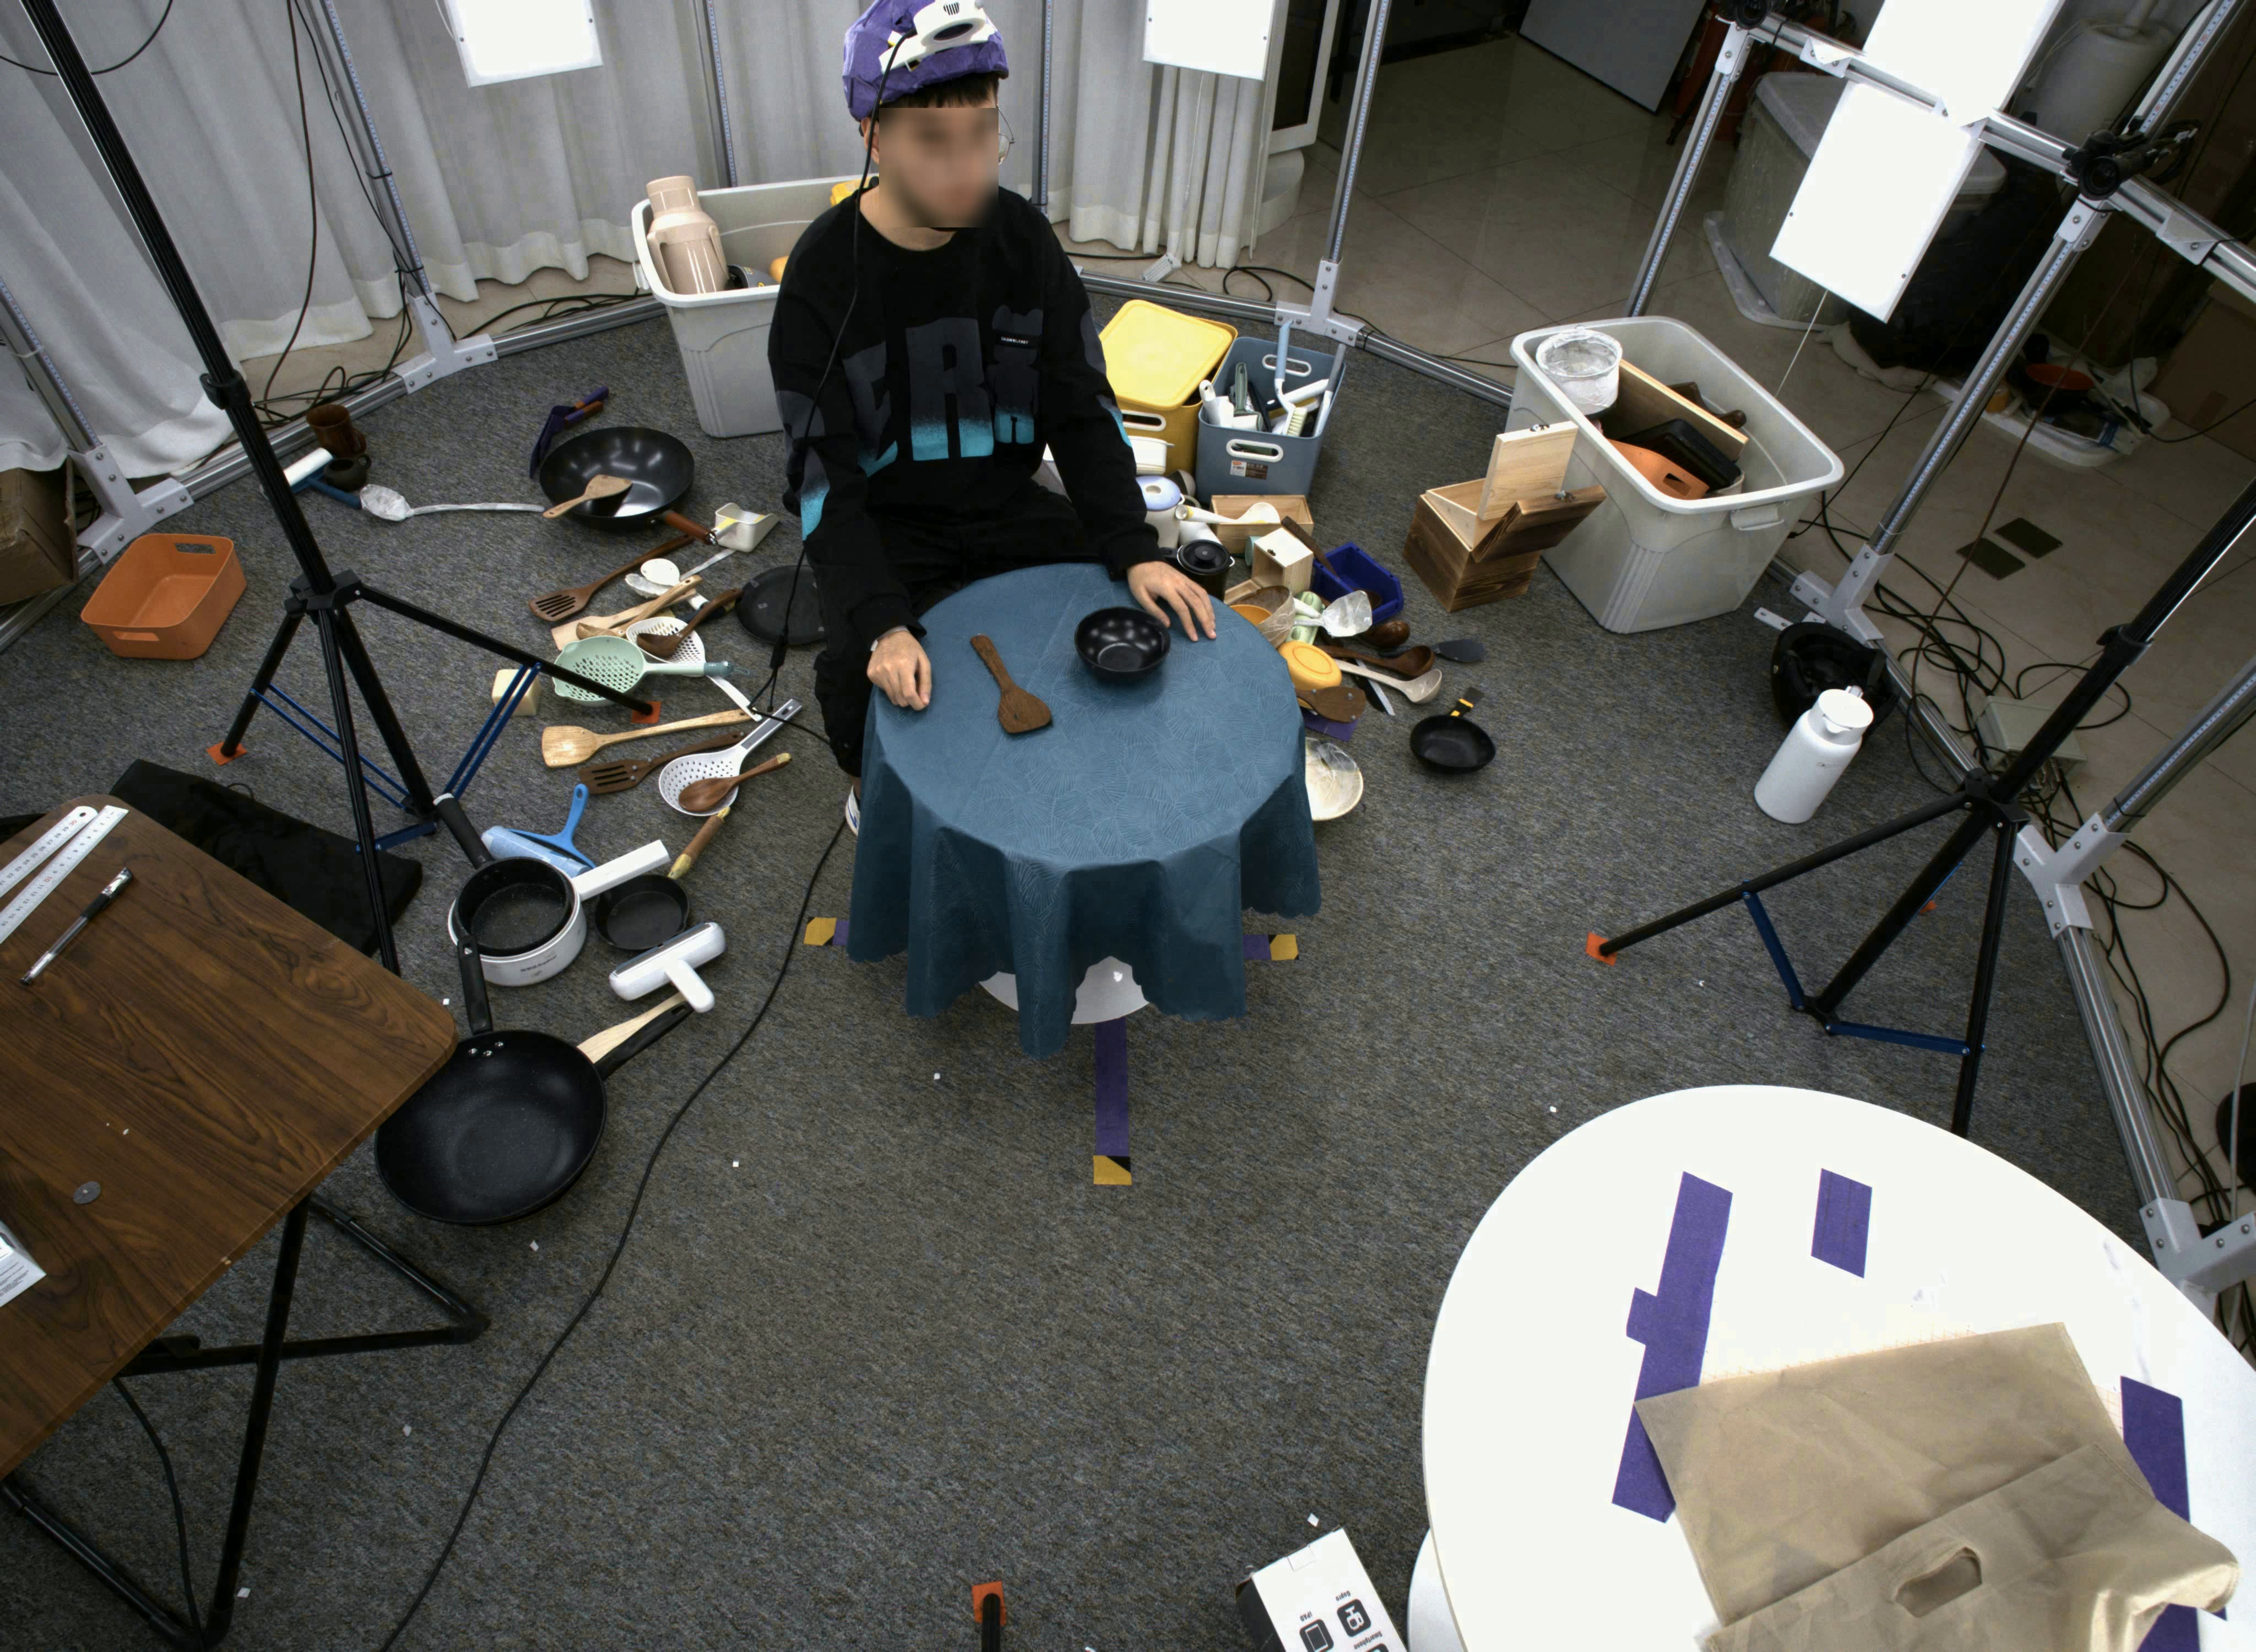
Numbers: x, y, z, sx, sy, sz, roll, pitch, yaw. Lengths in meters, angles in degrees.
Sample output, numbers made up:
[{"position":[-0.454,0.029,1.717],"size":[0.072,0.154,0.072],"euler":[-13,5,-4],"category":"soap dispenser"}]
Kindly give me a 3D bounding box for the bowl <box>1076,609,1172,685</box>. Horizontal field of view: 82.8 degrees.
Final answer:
[{"position":[-0.006,-0.253,1.874],"size":[0.140,0.048,0.143],"euler":[0,50,0],"category":"bowl"}]

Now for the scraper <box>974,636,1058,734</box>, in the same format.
[{"position":[-0.173,-0.205,1.847],"size":[0.076,0.010,0.216],"euler":[-17,51,-19],"category":"scraper"}]
